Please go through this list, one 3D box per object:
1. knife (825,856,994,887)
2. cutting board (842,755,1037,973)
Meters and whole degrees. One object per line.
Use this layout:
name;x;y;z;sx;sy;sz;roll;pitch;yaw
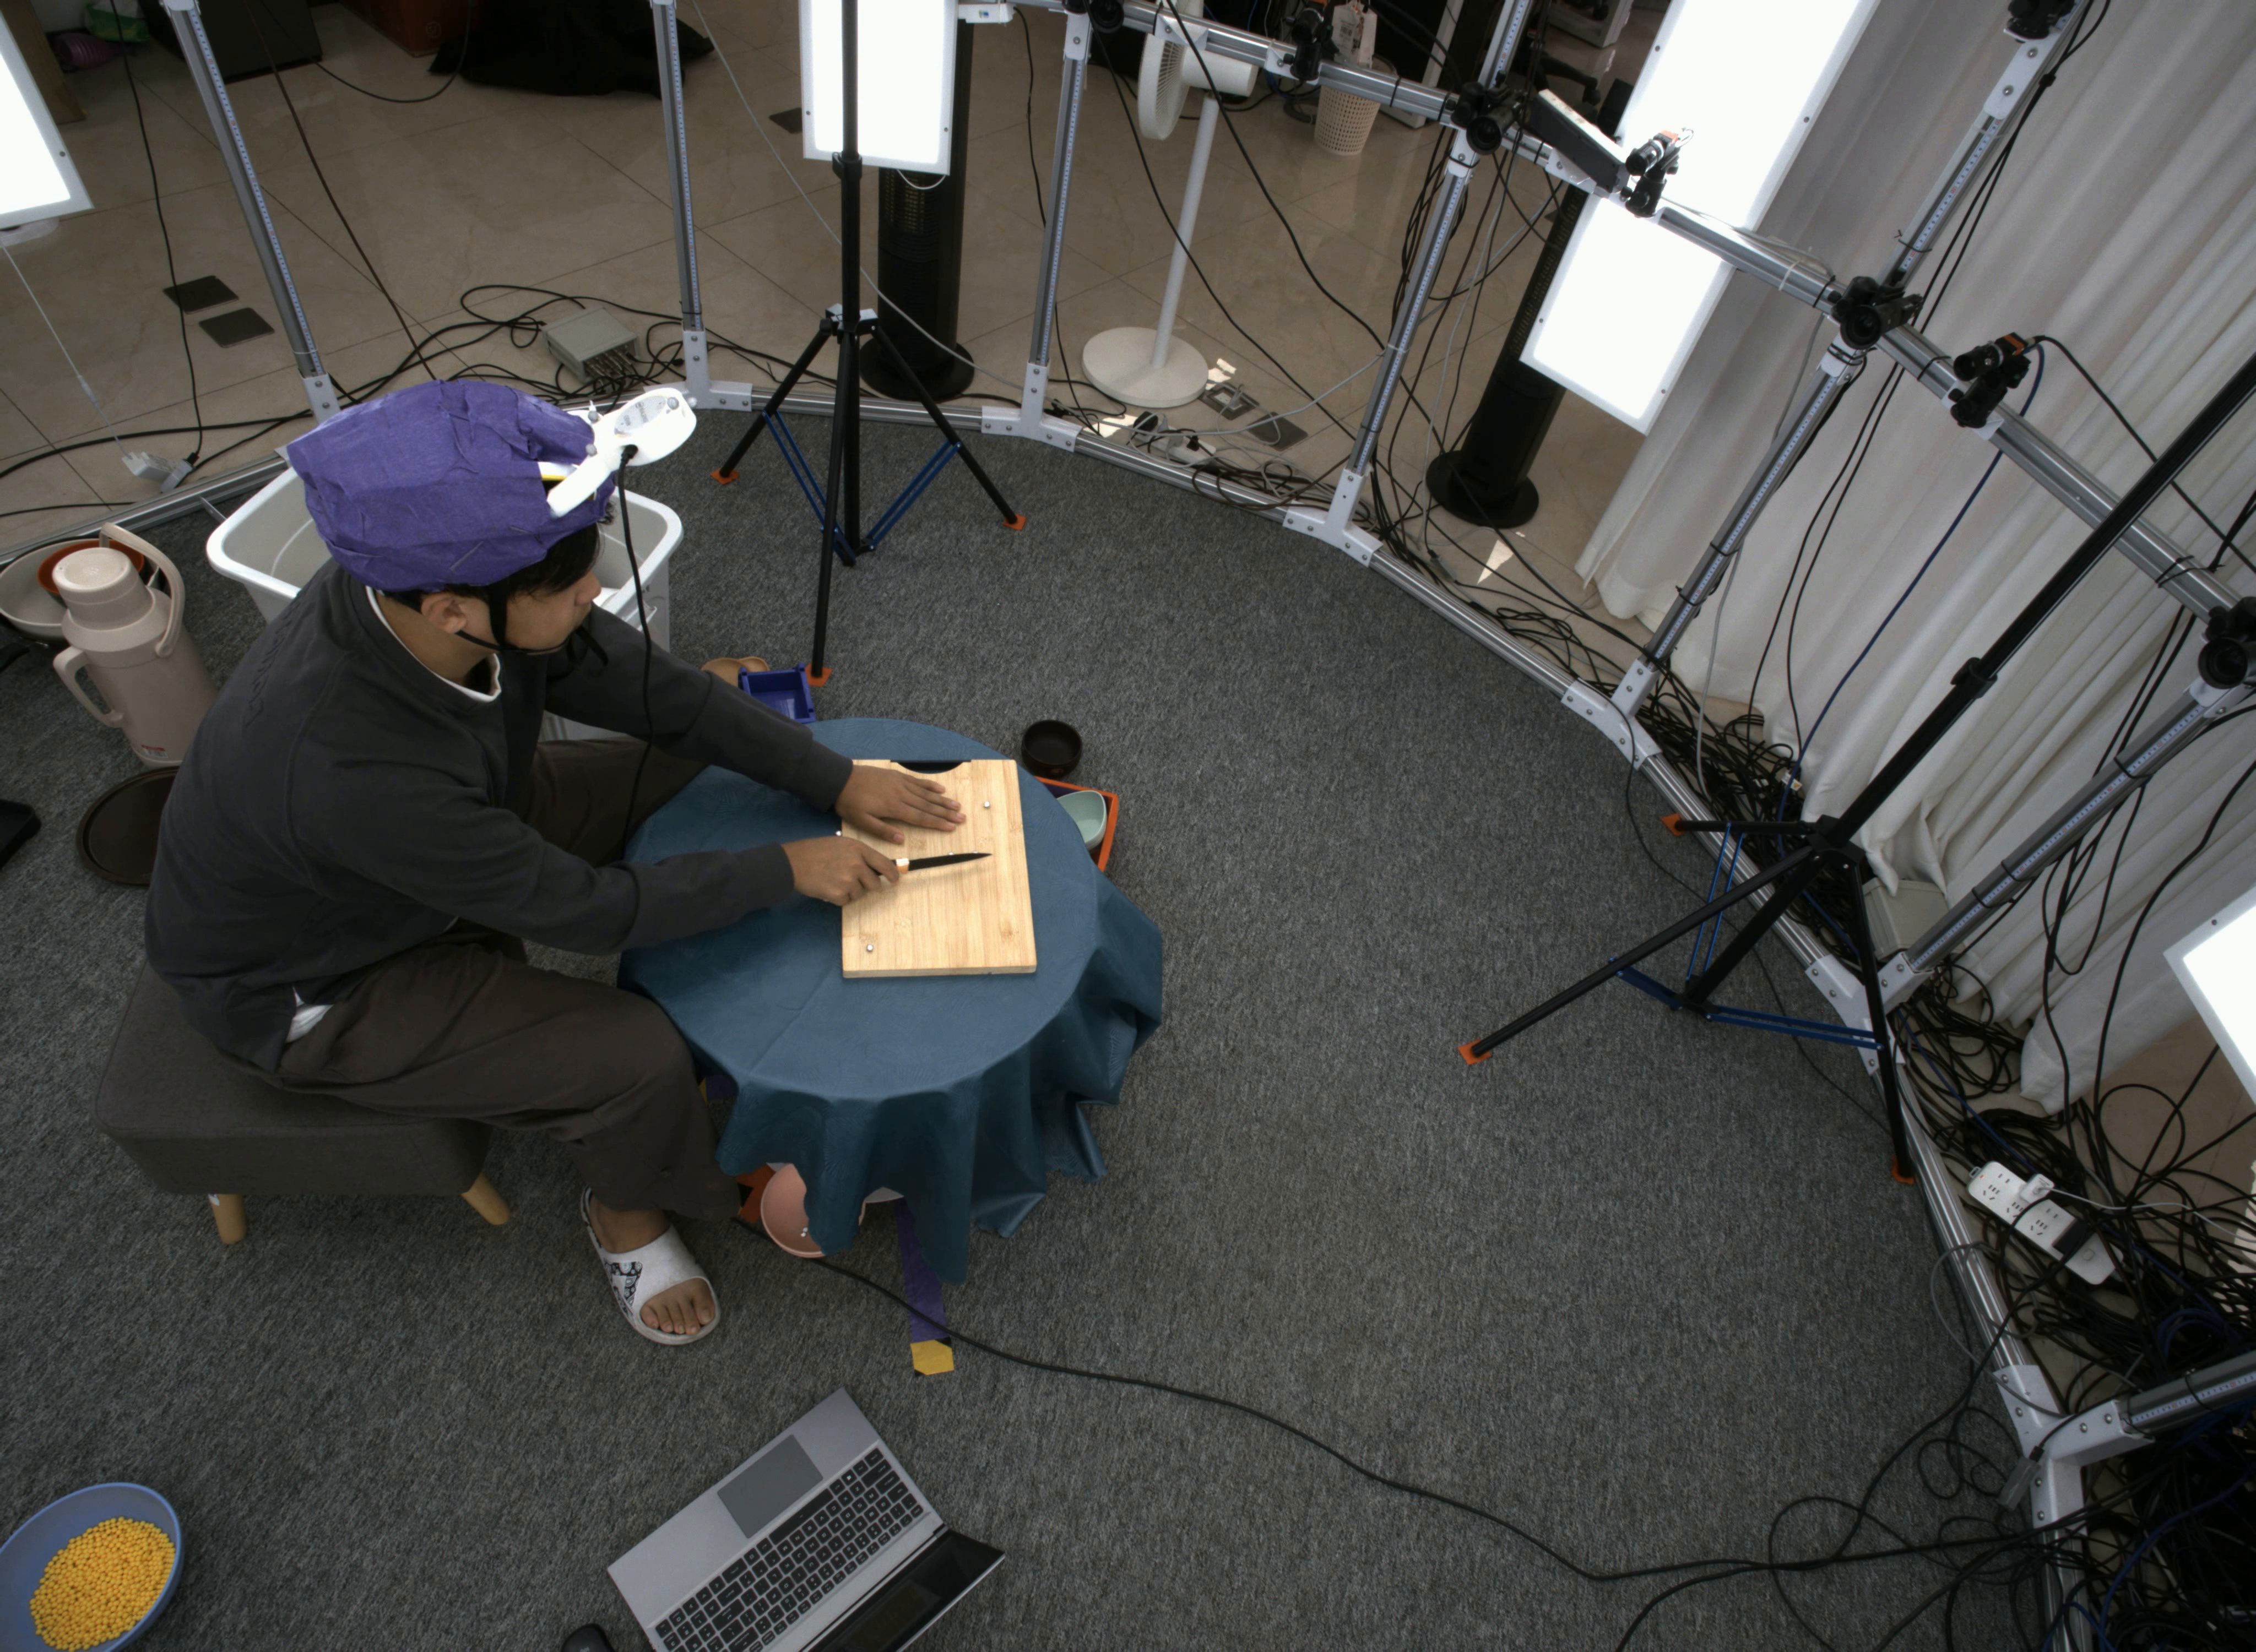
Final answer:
knife;-0.277;0.053;1.669;0.227;0.027;0.017;-8;48;-25
cutting board;-0.254;0.043;1.720;0.251;0.024;0.341;0;54;-15
